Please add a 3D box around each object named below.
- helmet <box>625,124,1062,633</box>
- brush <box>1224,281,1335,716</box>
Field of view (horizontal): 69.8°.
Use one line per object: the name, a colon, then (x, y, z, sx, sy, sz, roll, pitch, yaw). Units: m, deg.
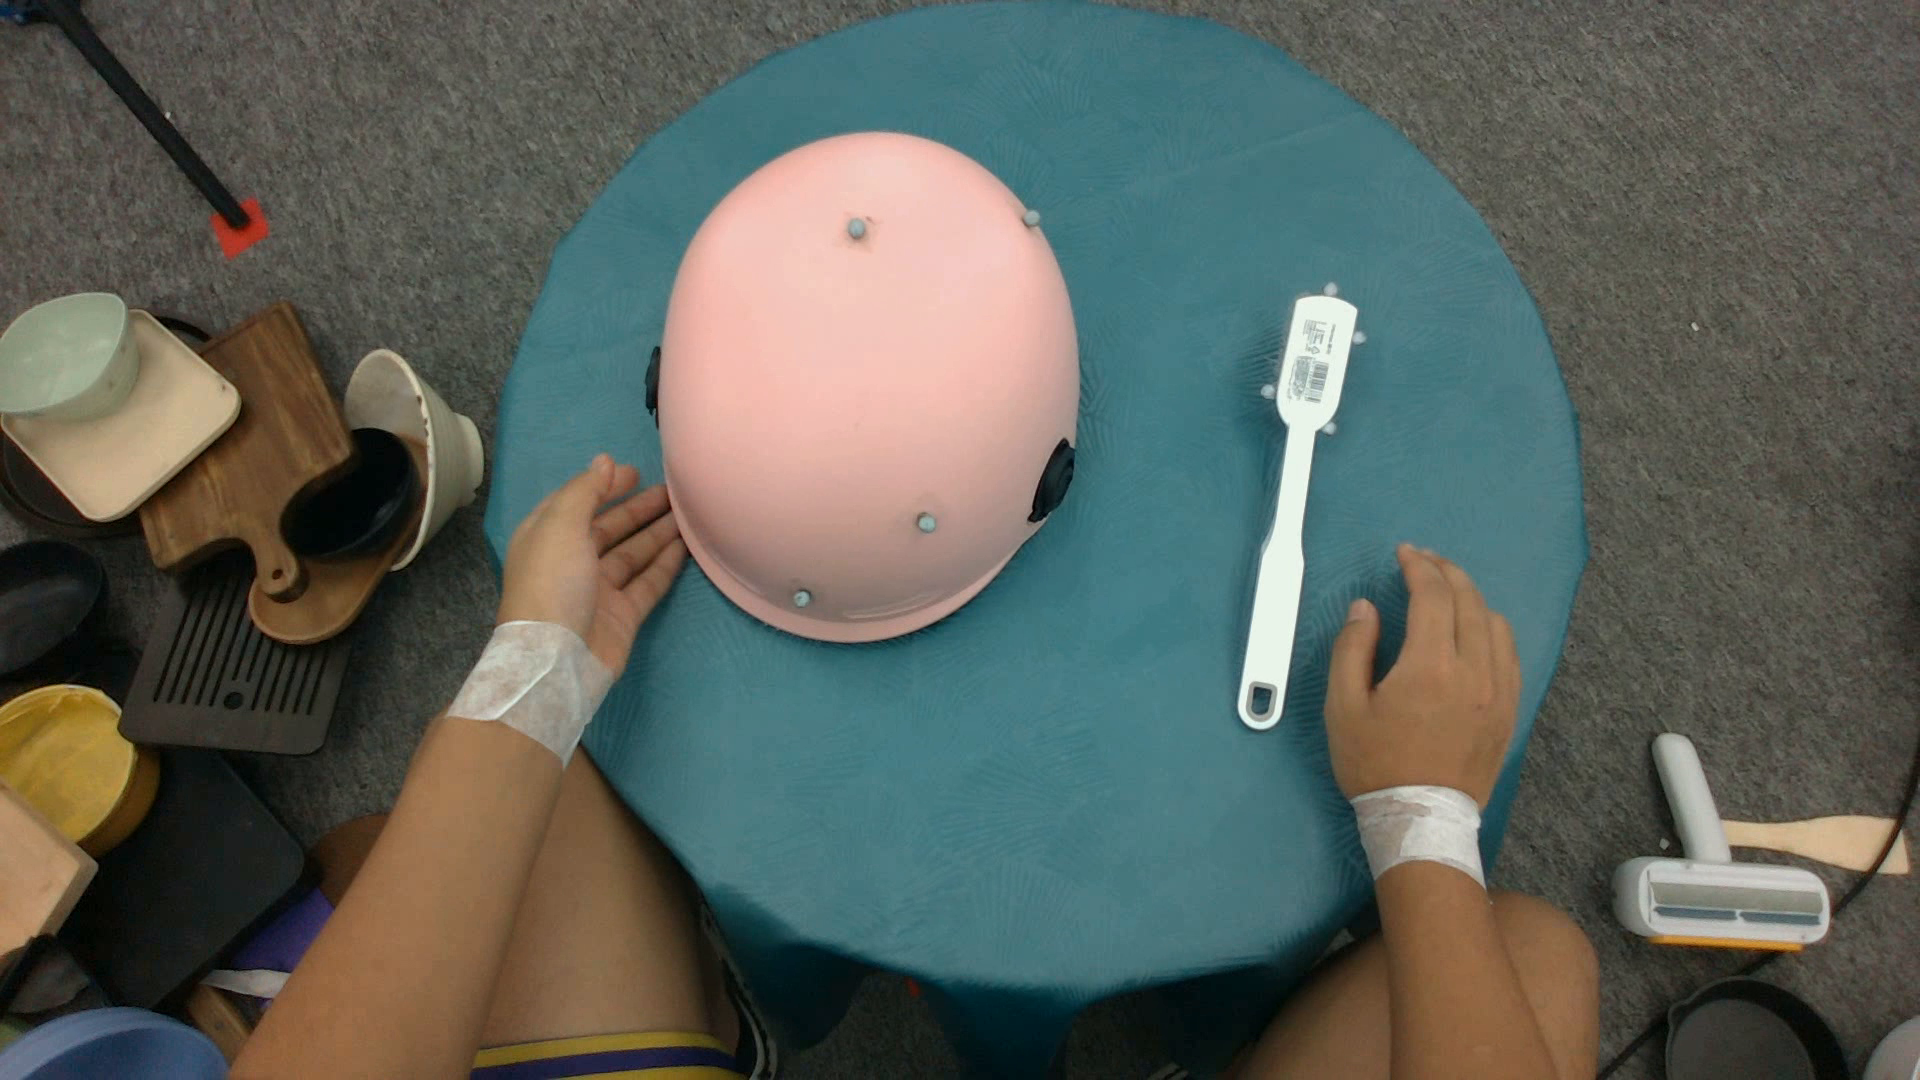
helmet: (-0.057, -0.096, 0.694, 0.234, 0.158, 0.266, 13, 73, 2)
brush: (0.169, -0.025, 0.745, 0.034, 0.050, 0.244, 9, 83, 6)
